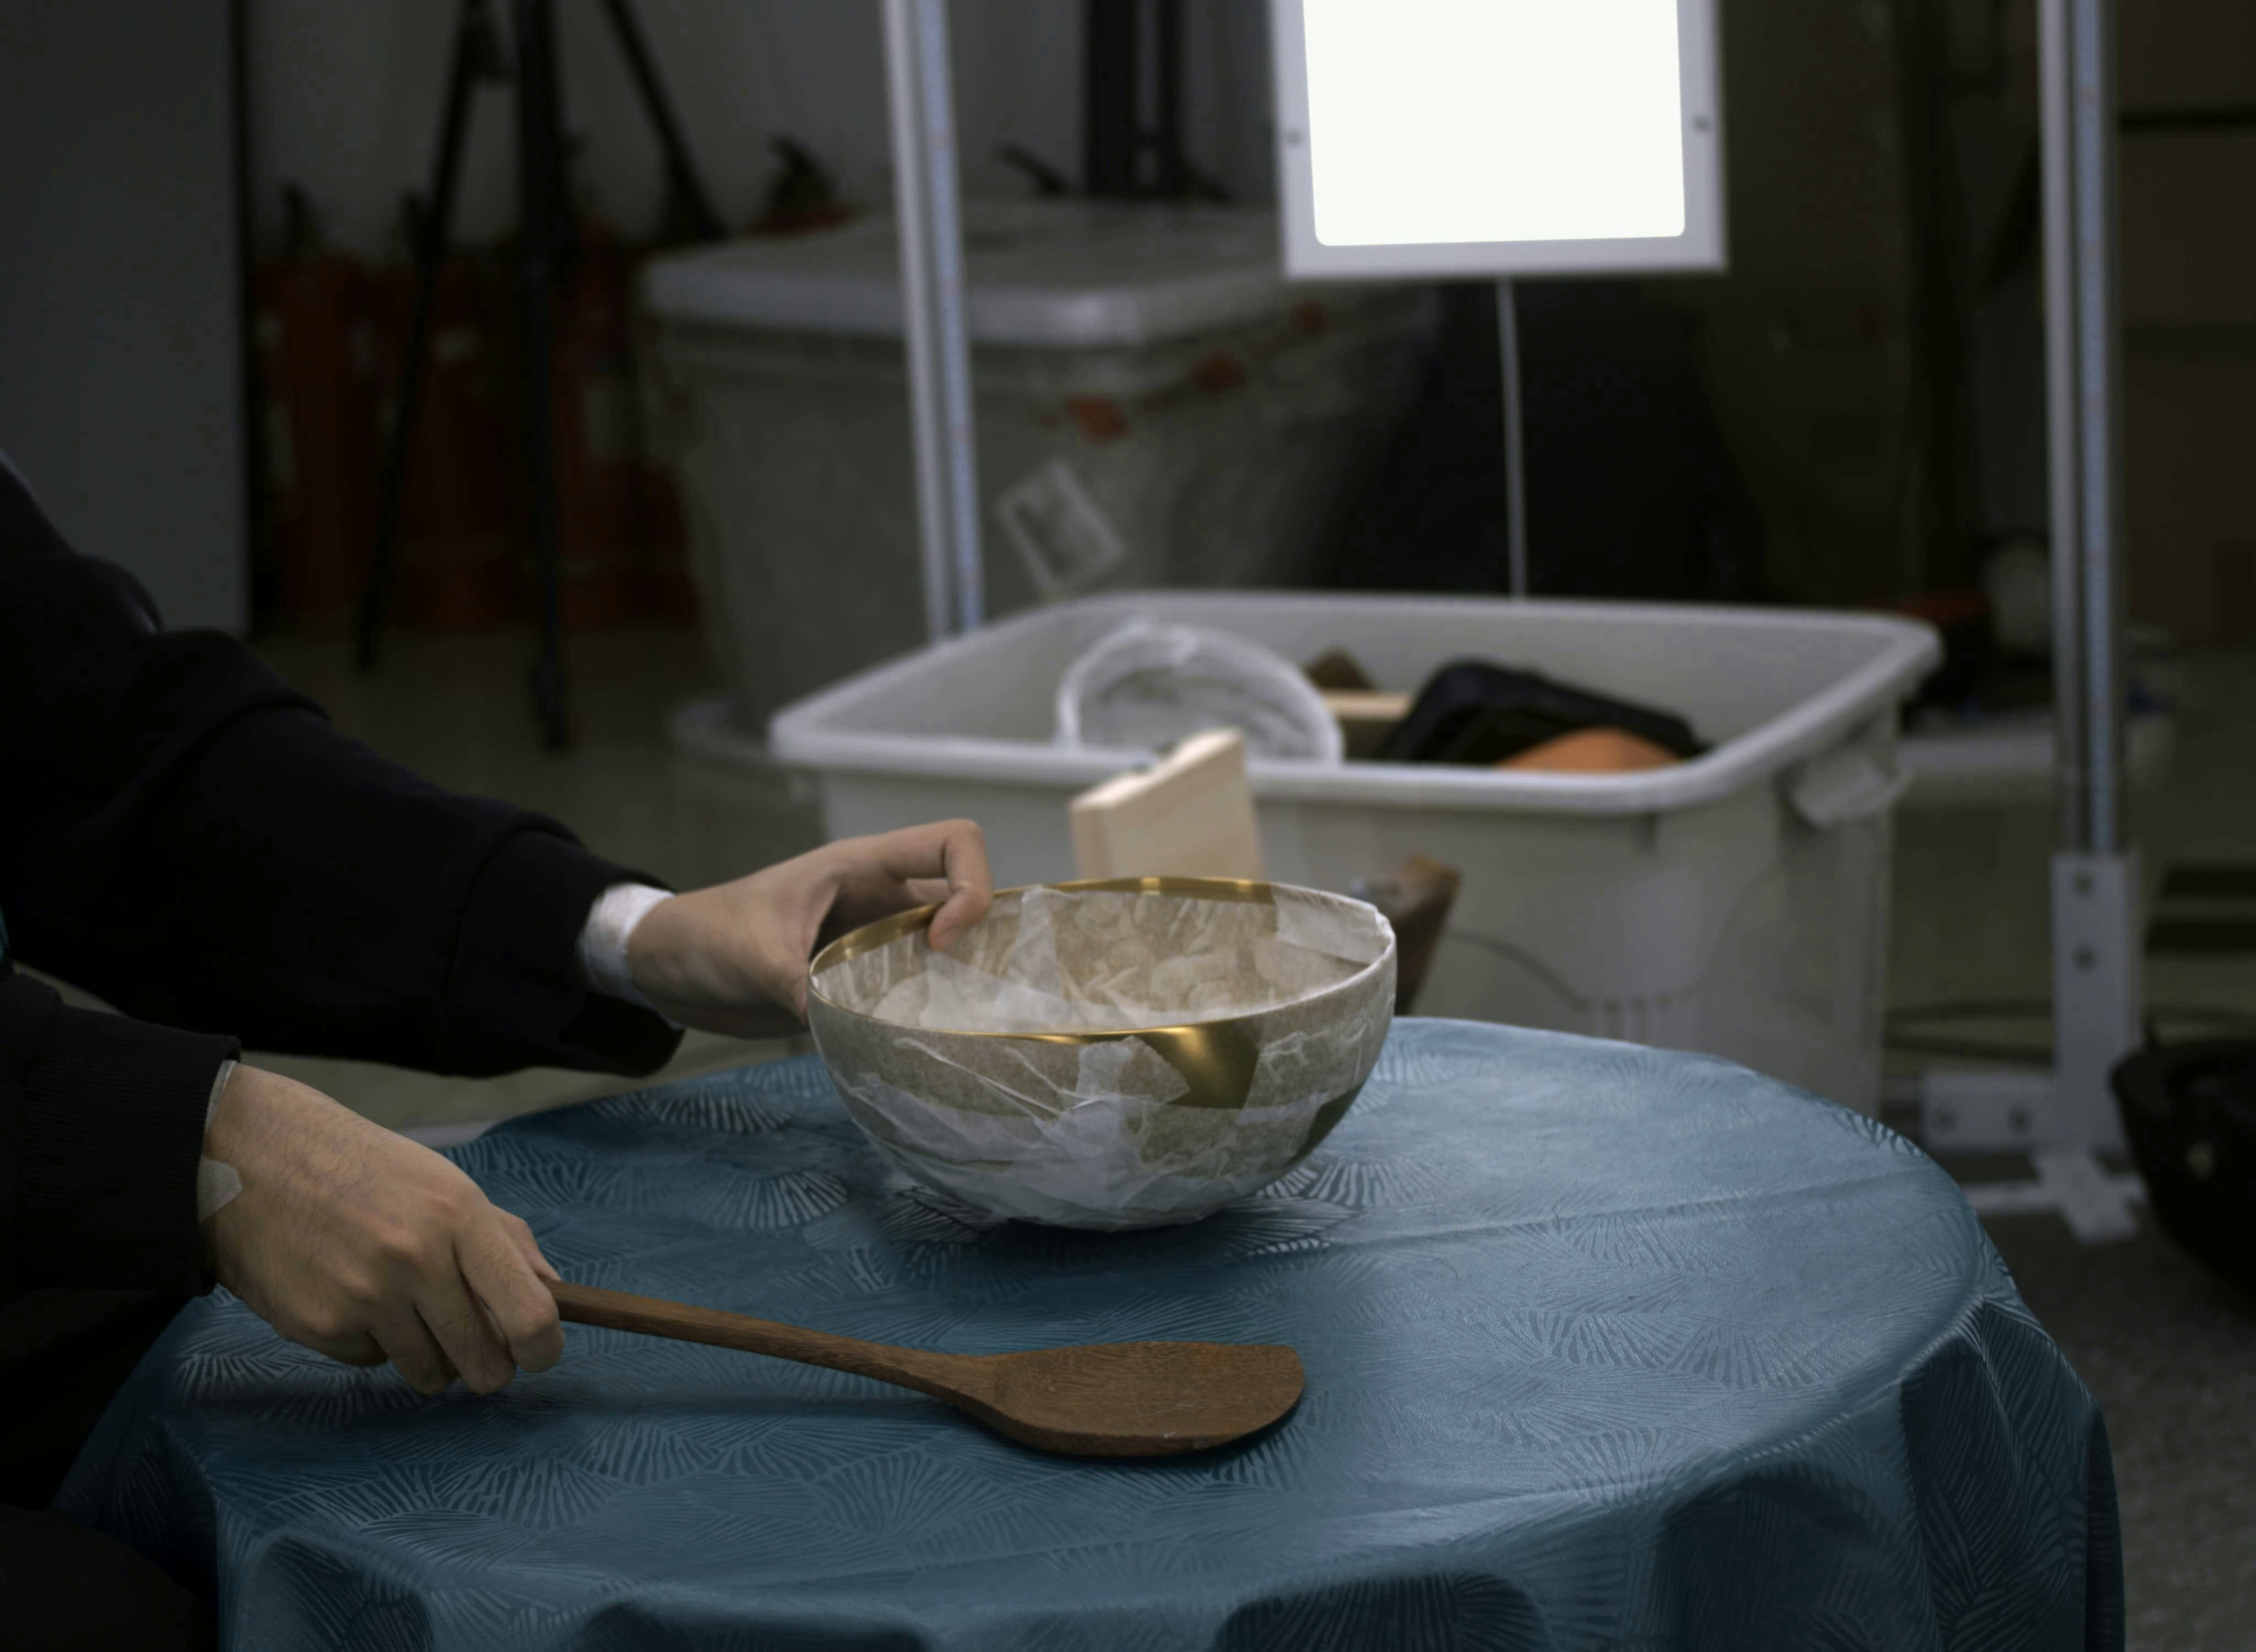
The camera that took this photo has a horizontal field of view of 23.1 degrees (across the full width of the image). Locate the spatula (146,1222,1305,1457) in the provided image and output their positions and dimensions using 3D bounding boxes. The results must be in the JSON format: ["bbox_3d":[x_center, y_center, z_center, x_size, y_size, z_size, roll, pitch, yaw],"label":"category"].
[{"bbox_3d":[-0.133,0.156,1.725,0.390,0.016,0.094,8,15,18],"label":"spatula"}]

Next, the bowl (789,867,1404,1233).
[{"bbox_3d":[-0.008,0.084,1.878,0.214,0.095,0.214,-5,15,0],"label":"bowl"}]
